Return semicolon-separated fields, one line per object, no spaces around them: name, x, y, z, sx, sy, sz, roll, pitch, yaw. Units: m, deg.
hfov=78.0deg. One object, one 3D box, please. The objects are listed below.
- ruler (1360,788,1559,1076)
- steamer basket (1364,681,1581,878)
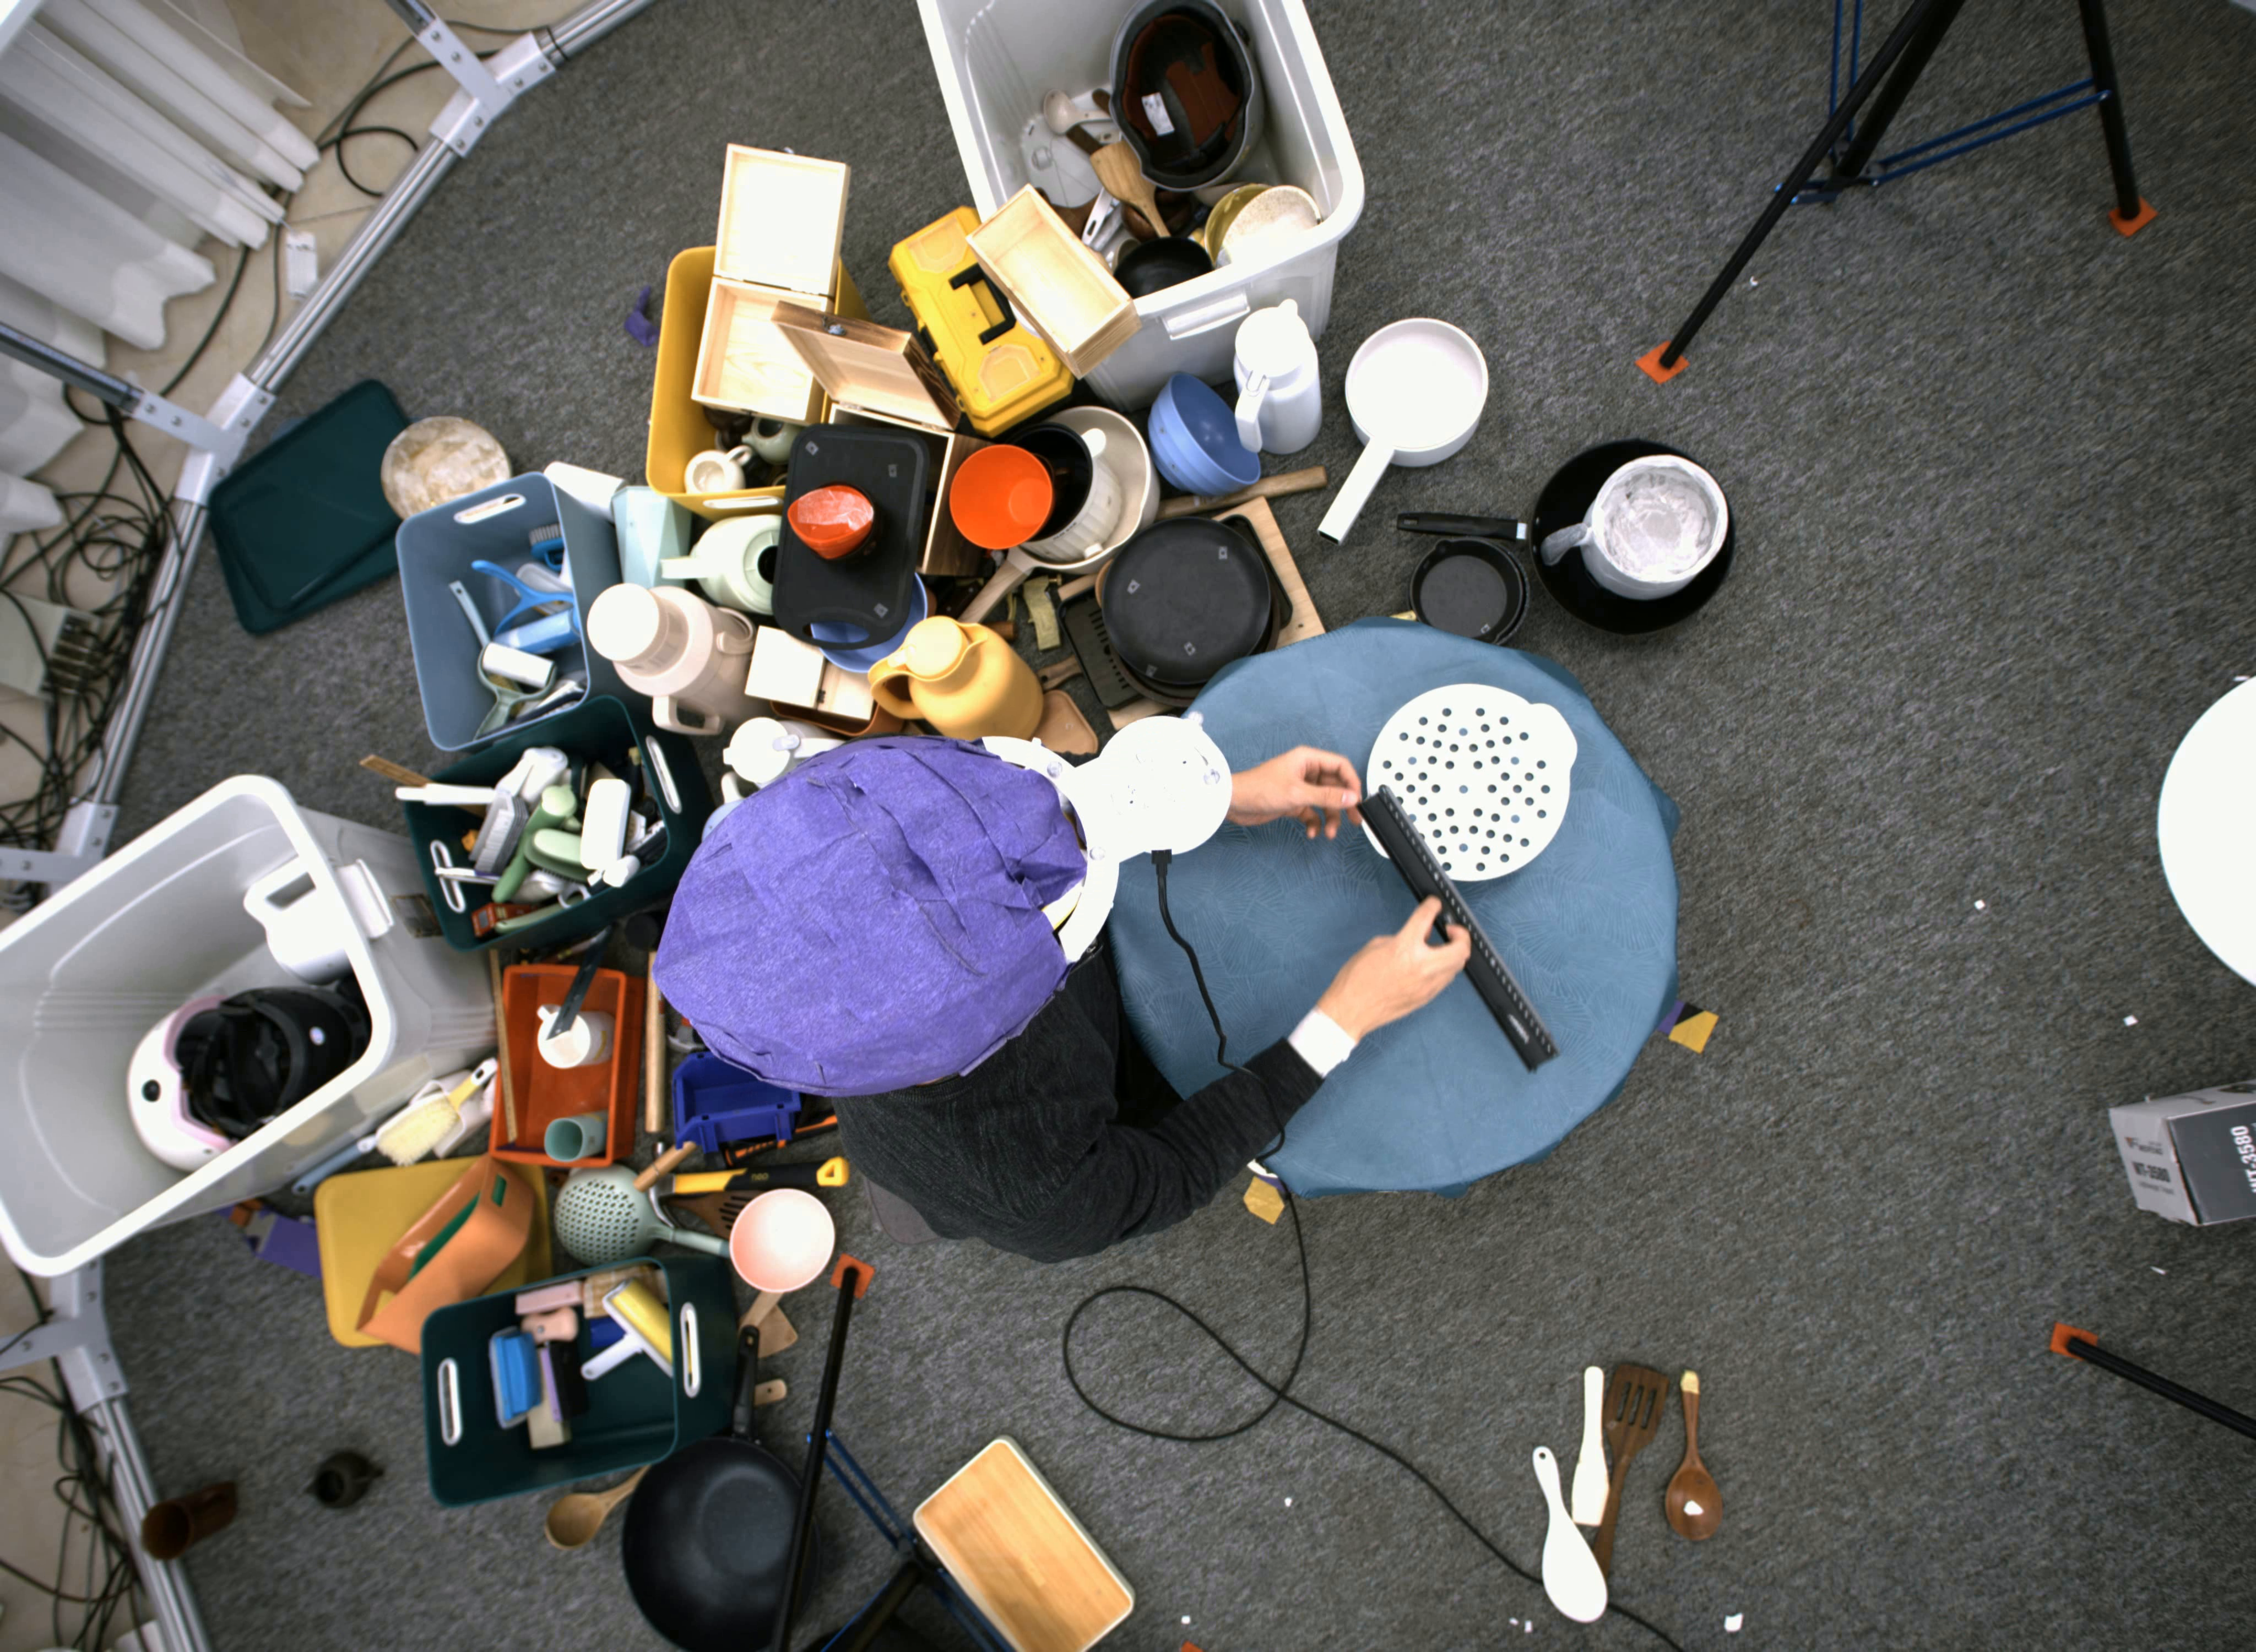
ruler;0.323;0.102;1.339;0.039;0.017;0.312;-32;91;10
steamer basket;0.352;-0.047;1.416;0.231;0.069;0.200;-30;82;5
